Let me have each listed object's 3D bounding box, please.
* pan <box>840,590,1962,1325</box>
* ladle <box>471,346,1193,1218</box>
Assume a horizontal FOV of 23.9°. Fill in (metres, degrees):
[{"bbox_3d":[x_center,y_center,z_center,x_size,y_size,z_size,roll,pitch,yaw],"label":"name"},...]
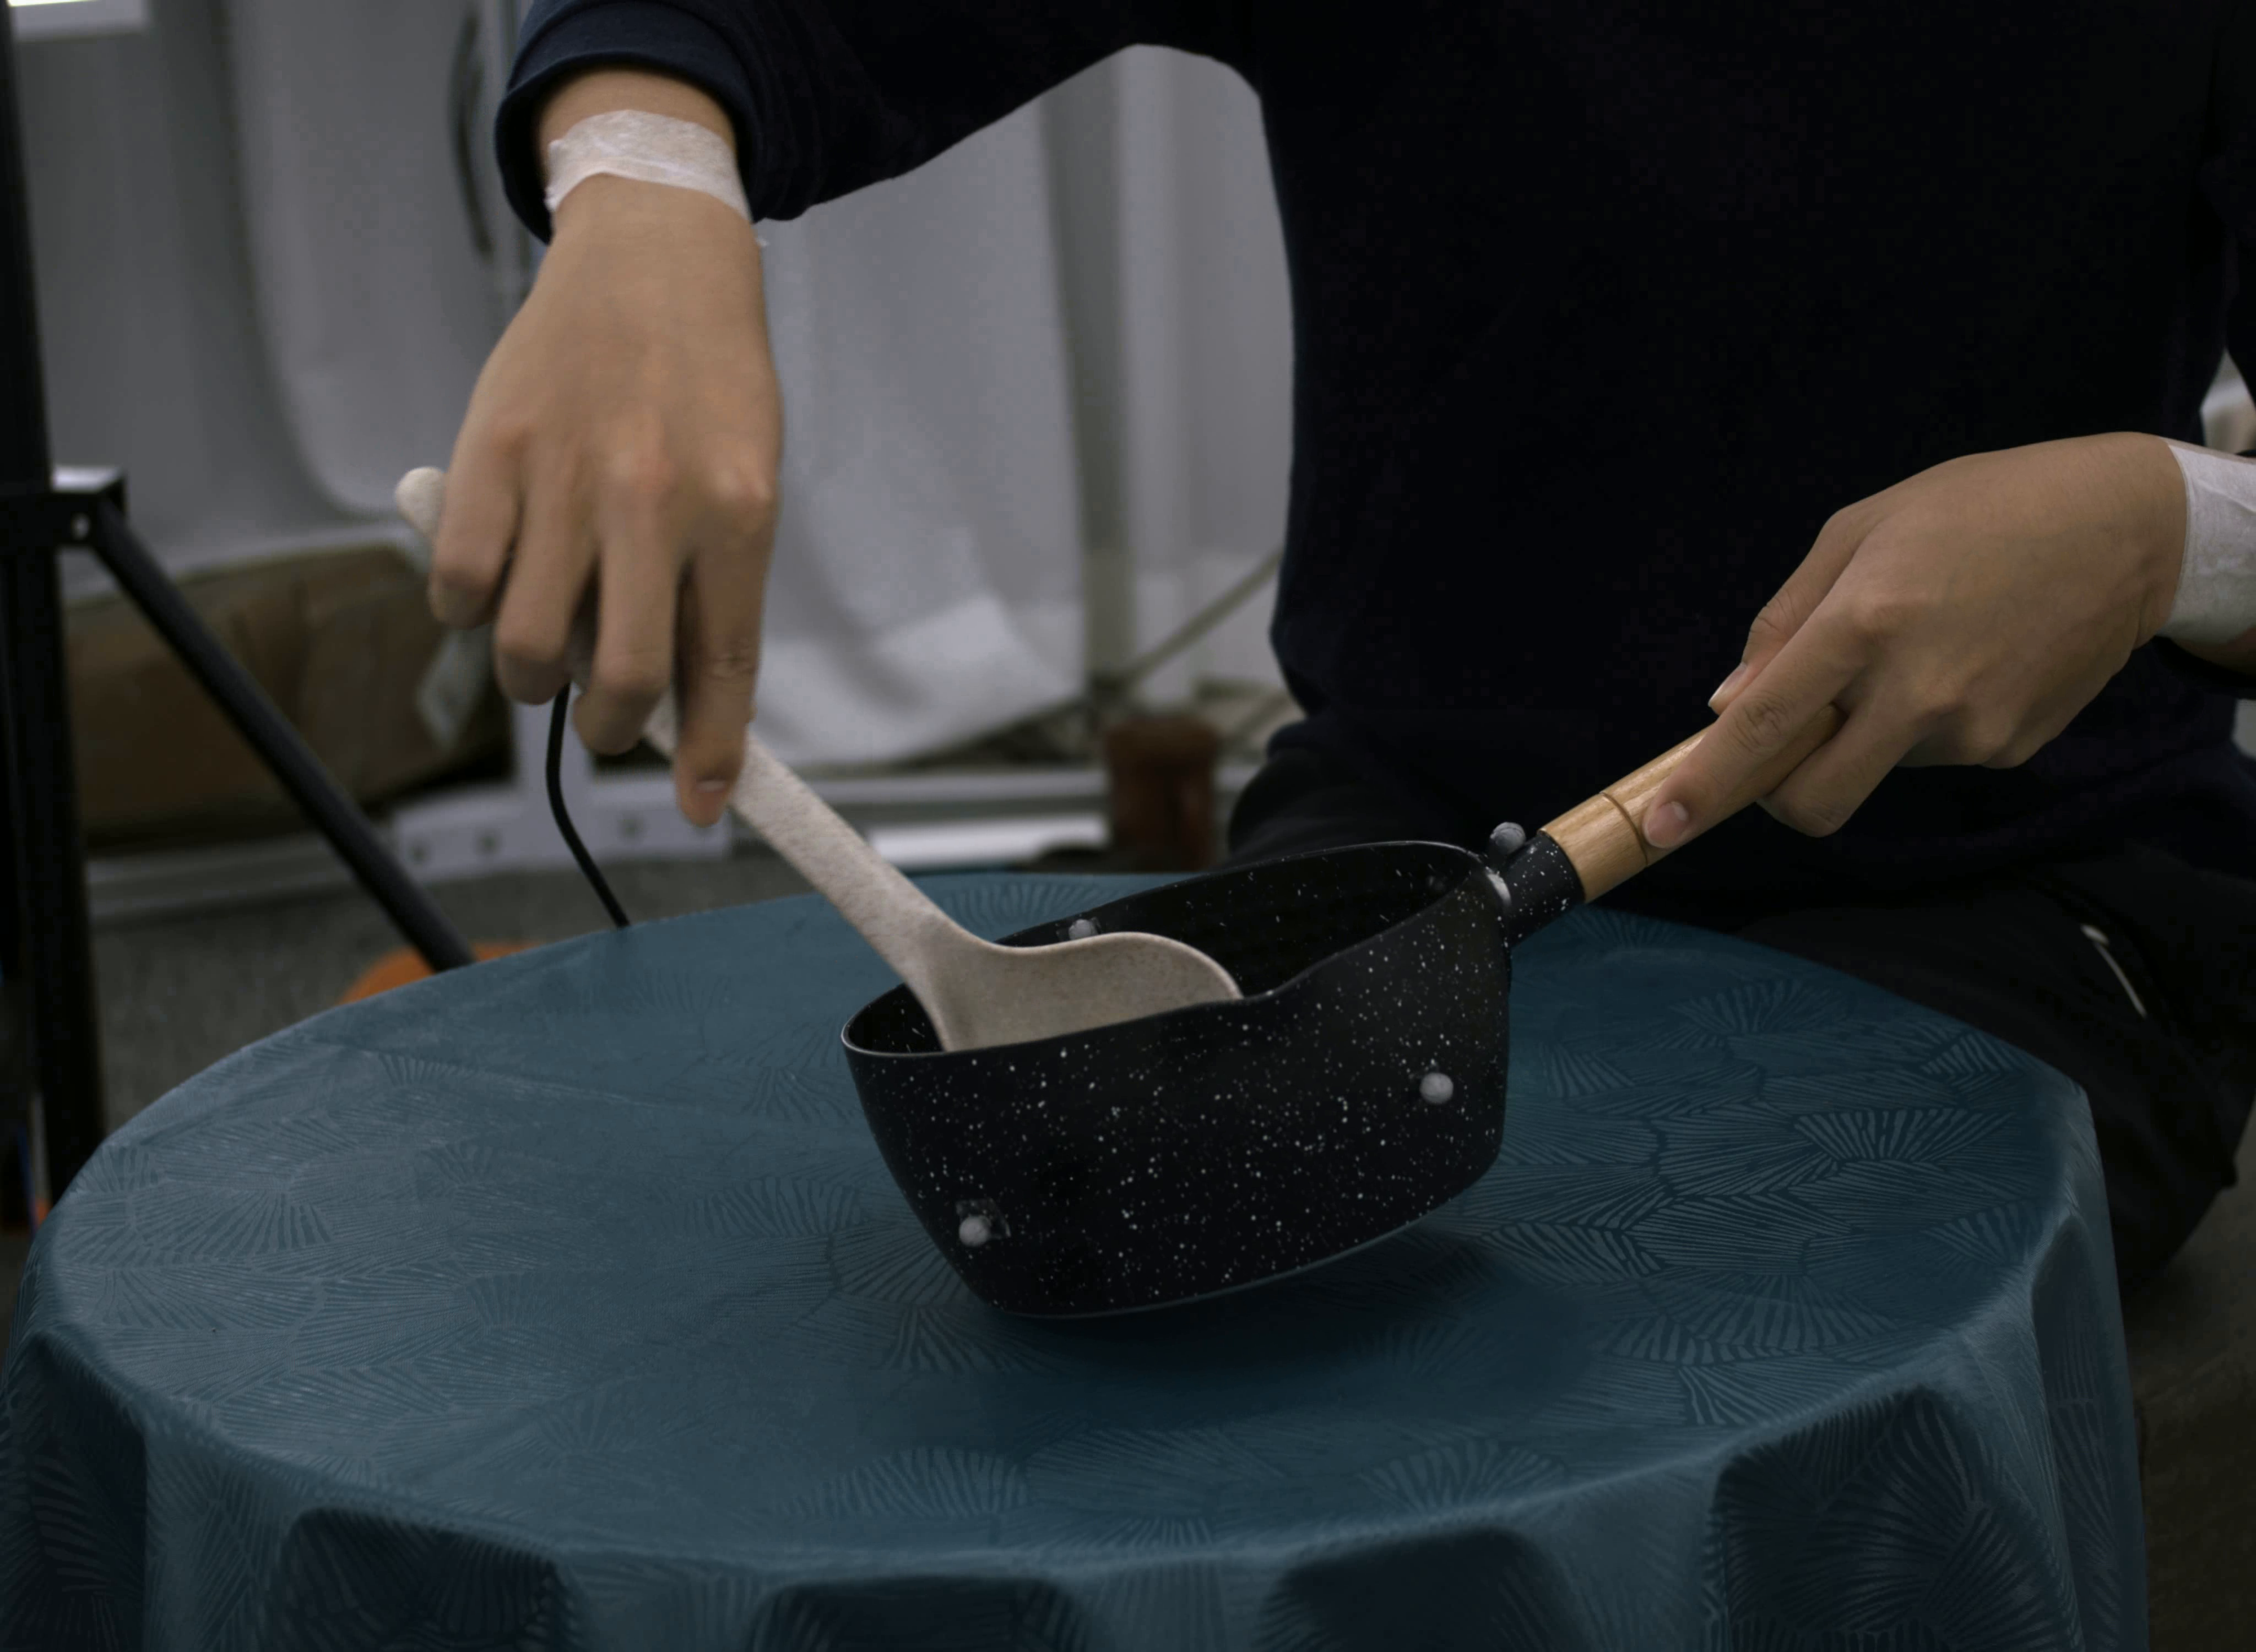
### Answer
[{"bbox_3d":[0.090,0.037,1.485,0.338,0.108,0.210,-19,8,-13],"label":"pan"},{"bbox_3d":[-0.076,-0.014,1.394,0.089,0.272,0.070,-41,18,-16],"label":"ladle"}]
